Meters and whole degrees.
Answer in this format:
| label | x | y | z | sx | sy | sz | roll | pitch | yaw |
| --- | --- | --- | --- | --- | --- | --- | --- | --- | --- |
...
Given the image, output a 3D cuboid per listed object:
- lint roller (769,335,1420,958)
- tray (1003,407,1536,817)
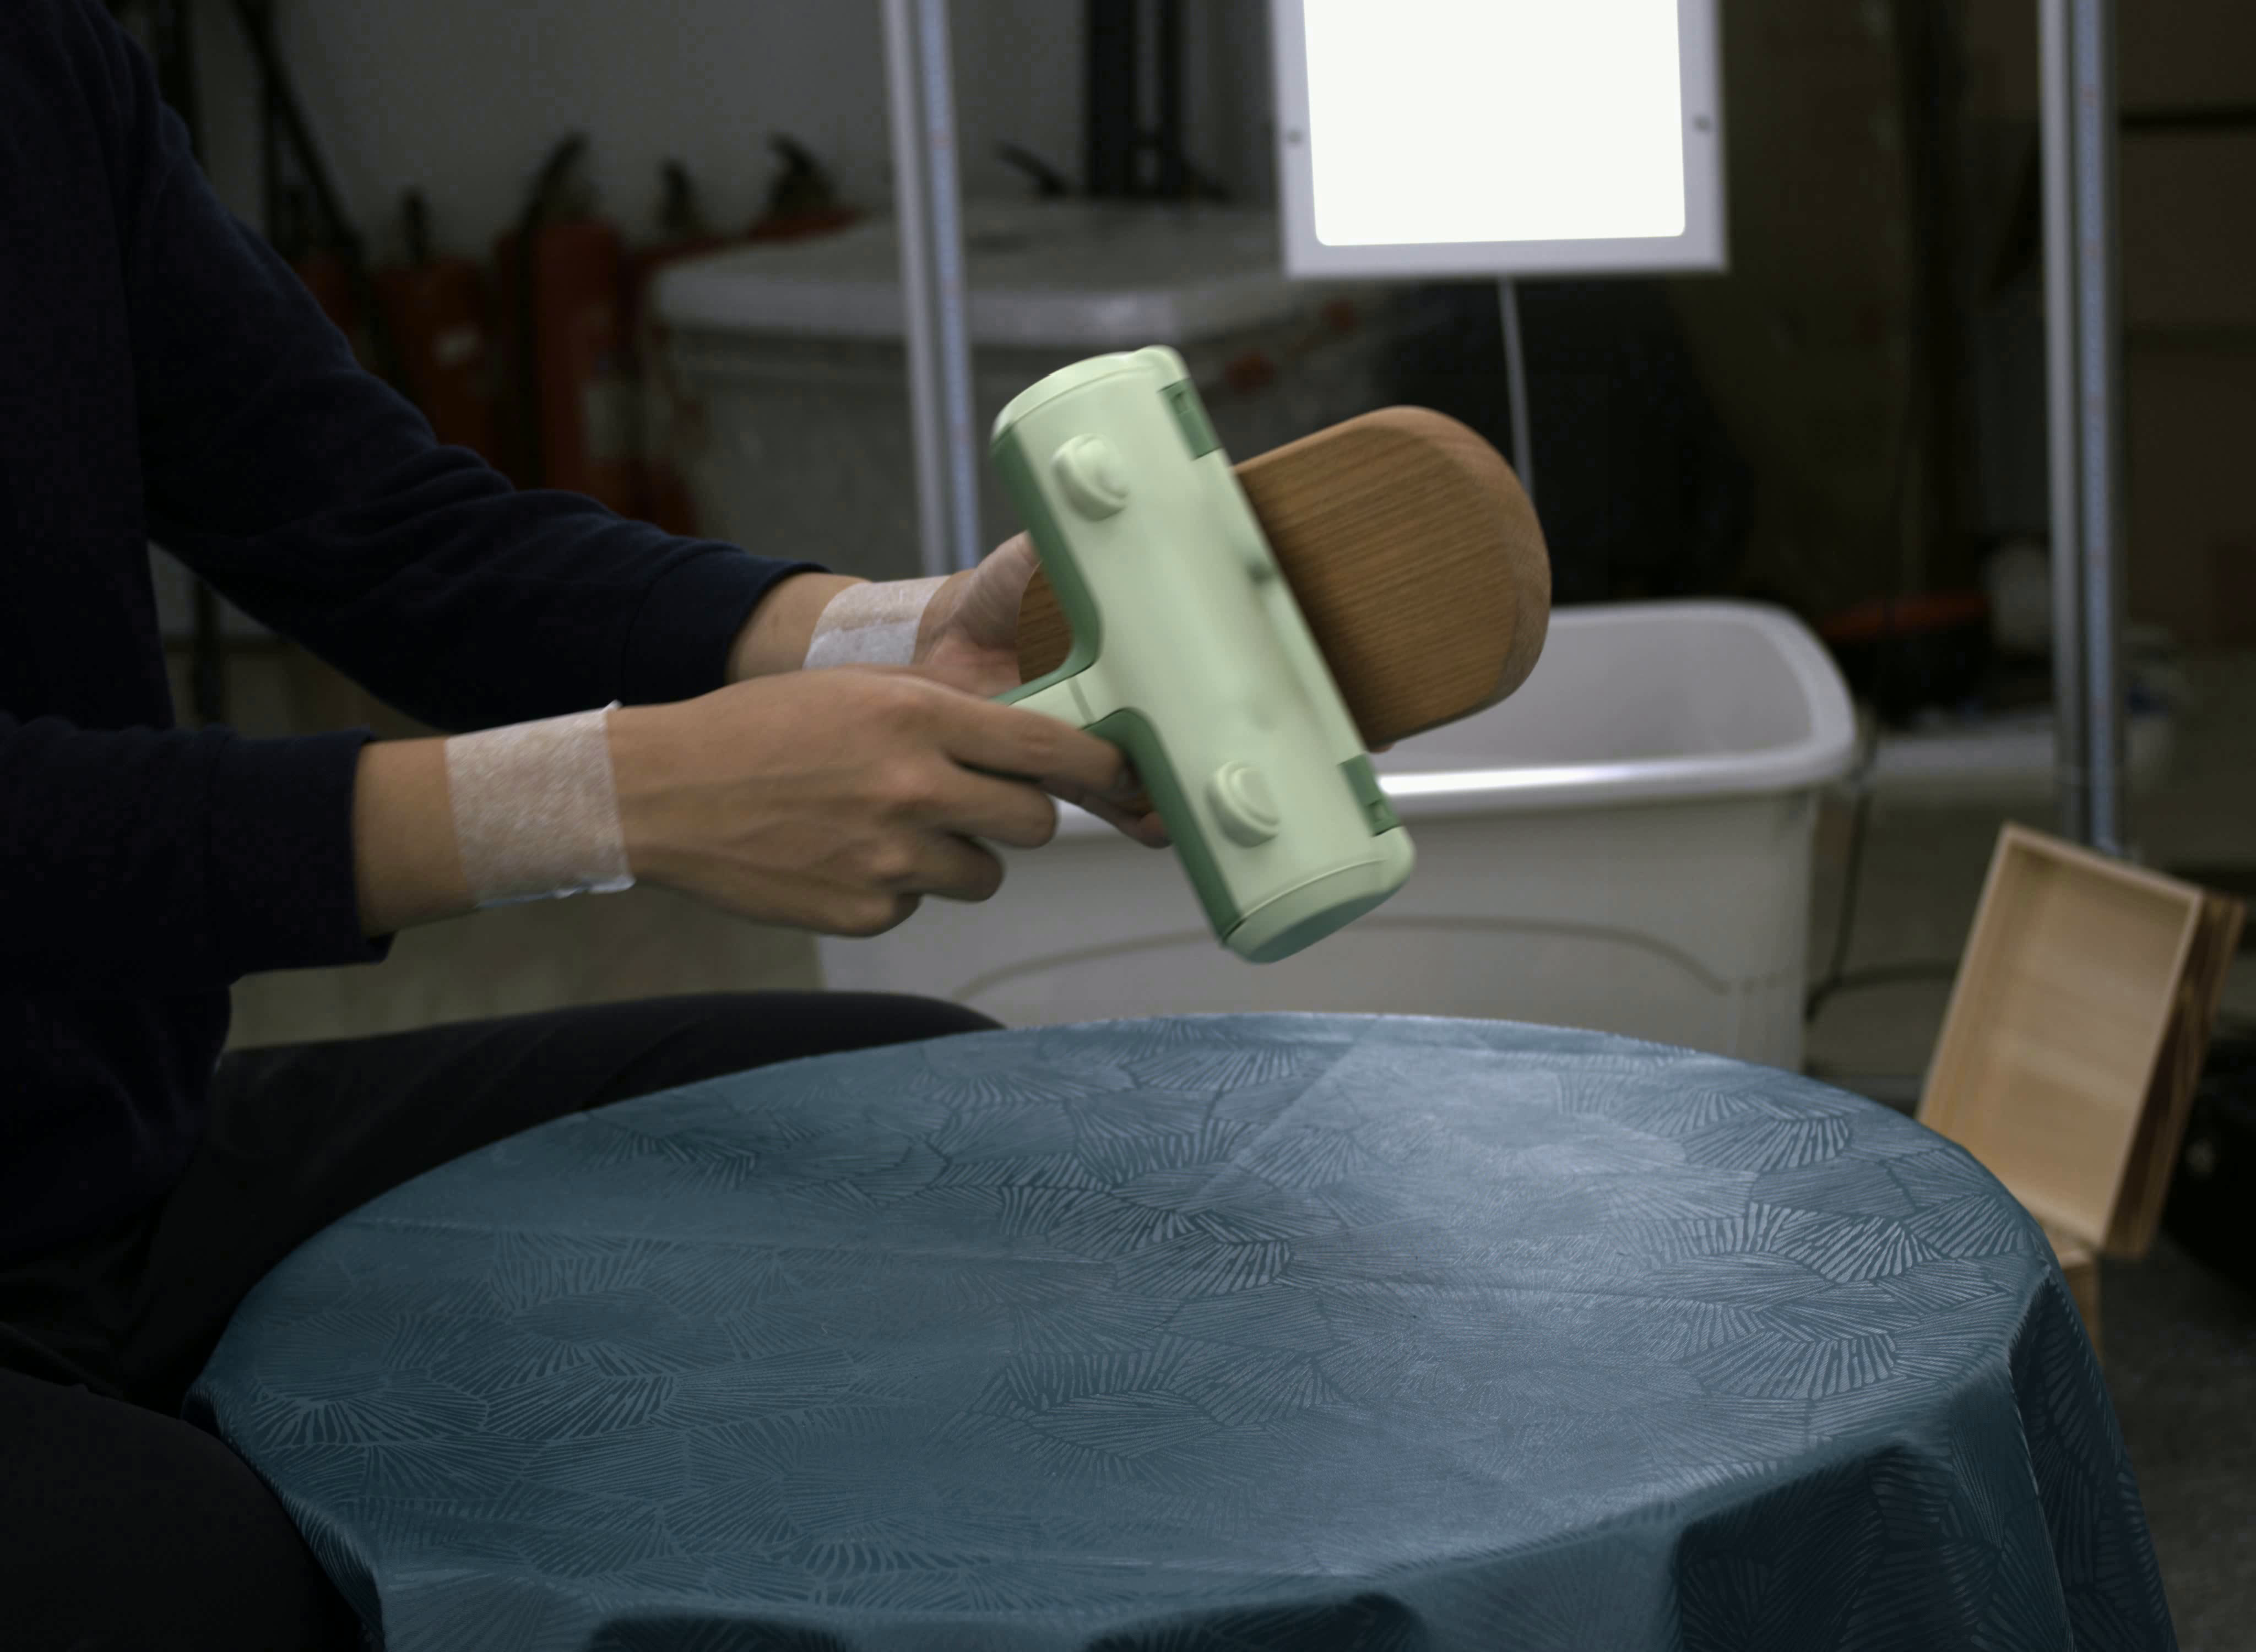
| label | x | y | z | sx | sy | sz | roll | pitch | yaw |
| --- | --- | --- | --- | --- | --- | --- | --- | --- | --- |
| lint roller | -0.030 | -0.036 | 1.710 | 0.182 | 0.199 | 0.082 | -24 | -15 | -3 |
| tray | 0.041 | -0.066 | 1.753 | 0.020 | 0.102 | 0.236 | -21 | 2 | -43 |
